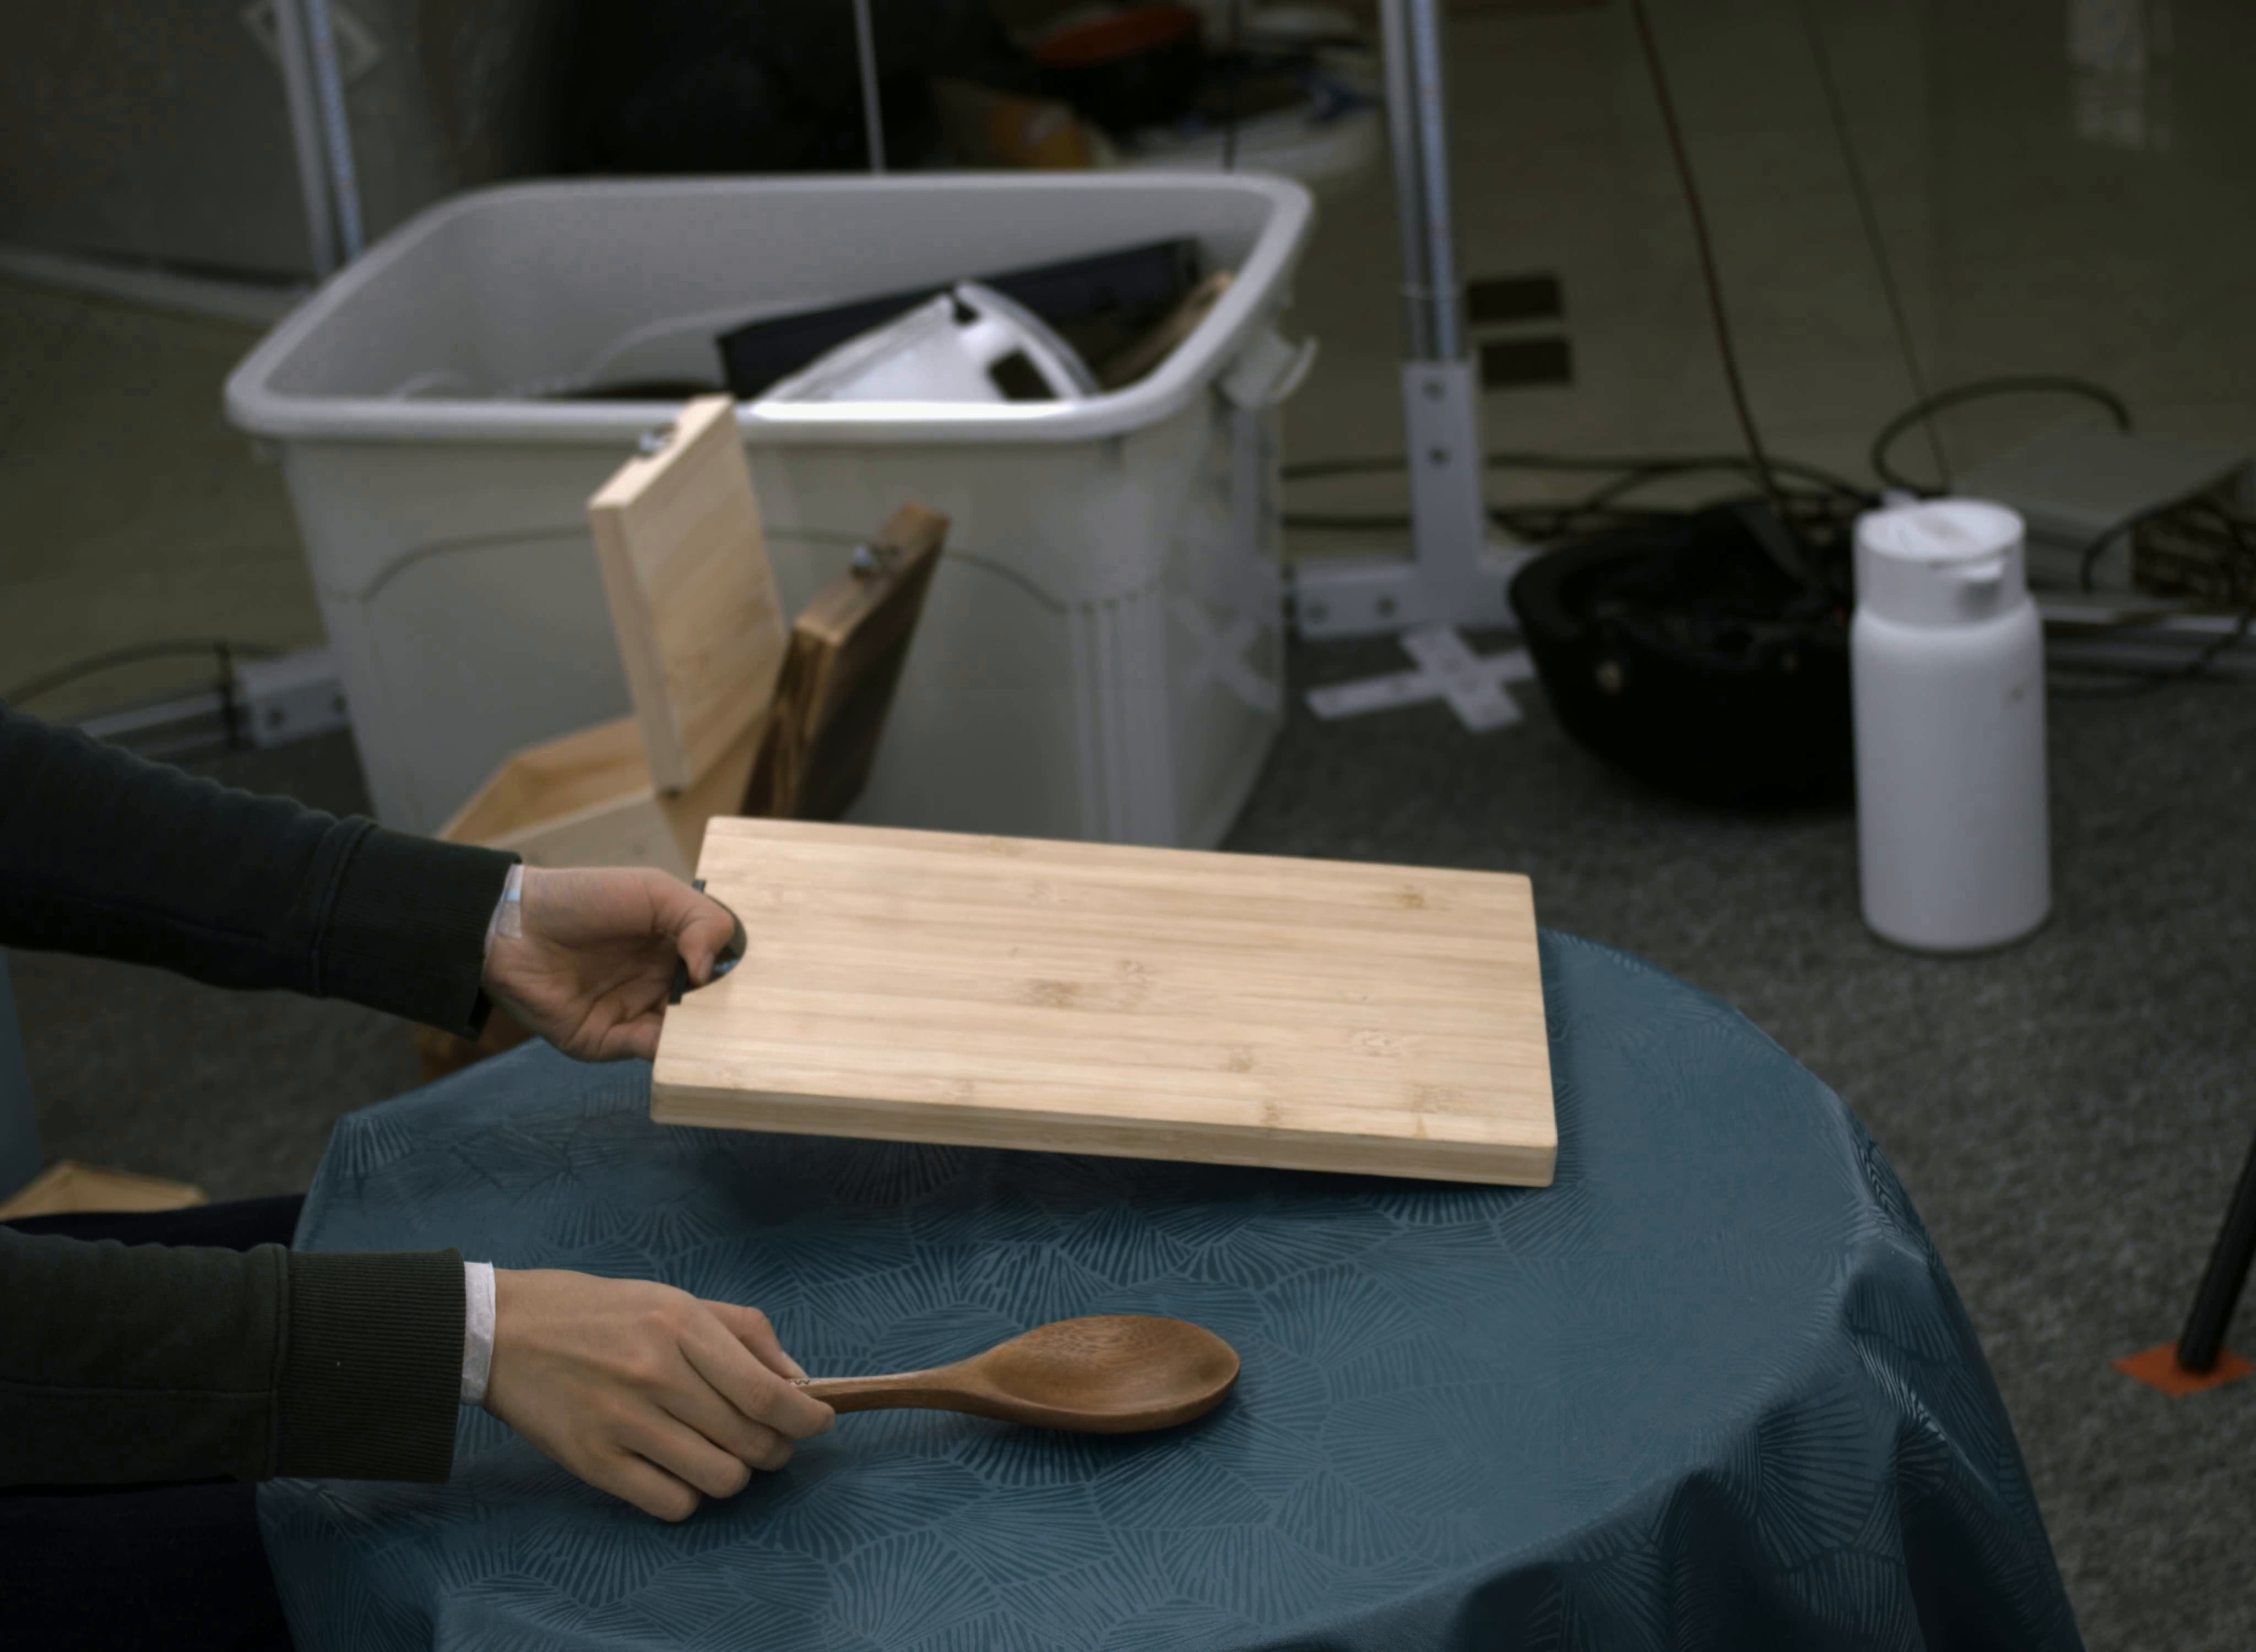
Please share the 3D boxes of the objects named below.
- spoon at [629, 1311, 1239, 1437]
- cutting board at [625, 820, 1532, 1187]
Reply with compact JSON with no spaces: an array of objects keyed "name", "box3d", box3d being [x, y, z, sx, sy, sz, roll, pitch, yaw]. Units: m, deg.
[{"name":"spoon","box3d":[-0.068,0.198,2.000,0.215,0.017,0.074,-2,26,-8]},{"name":"cutting board","box3d":[-0.013,0.067,2.222,0.348,0.024,0.247,4,24,-1]}]
